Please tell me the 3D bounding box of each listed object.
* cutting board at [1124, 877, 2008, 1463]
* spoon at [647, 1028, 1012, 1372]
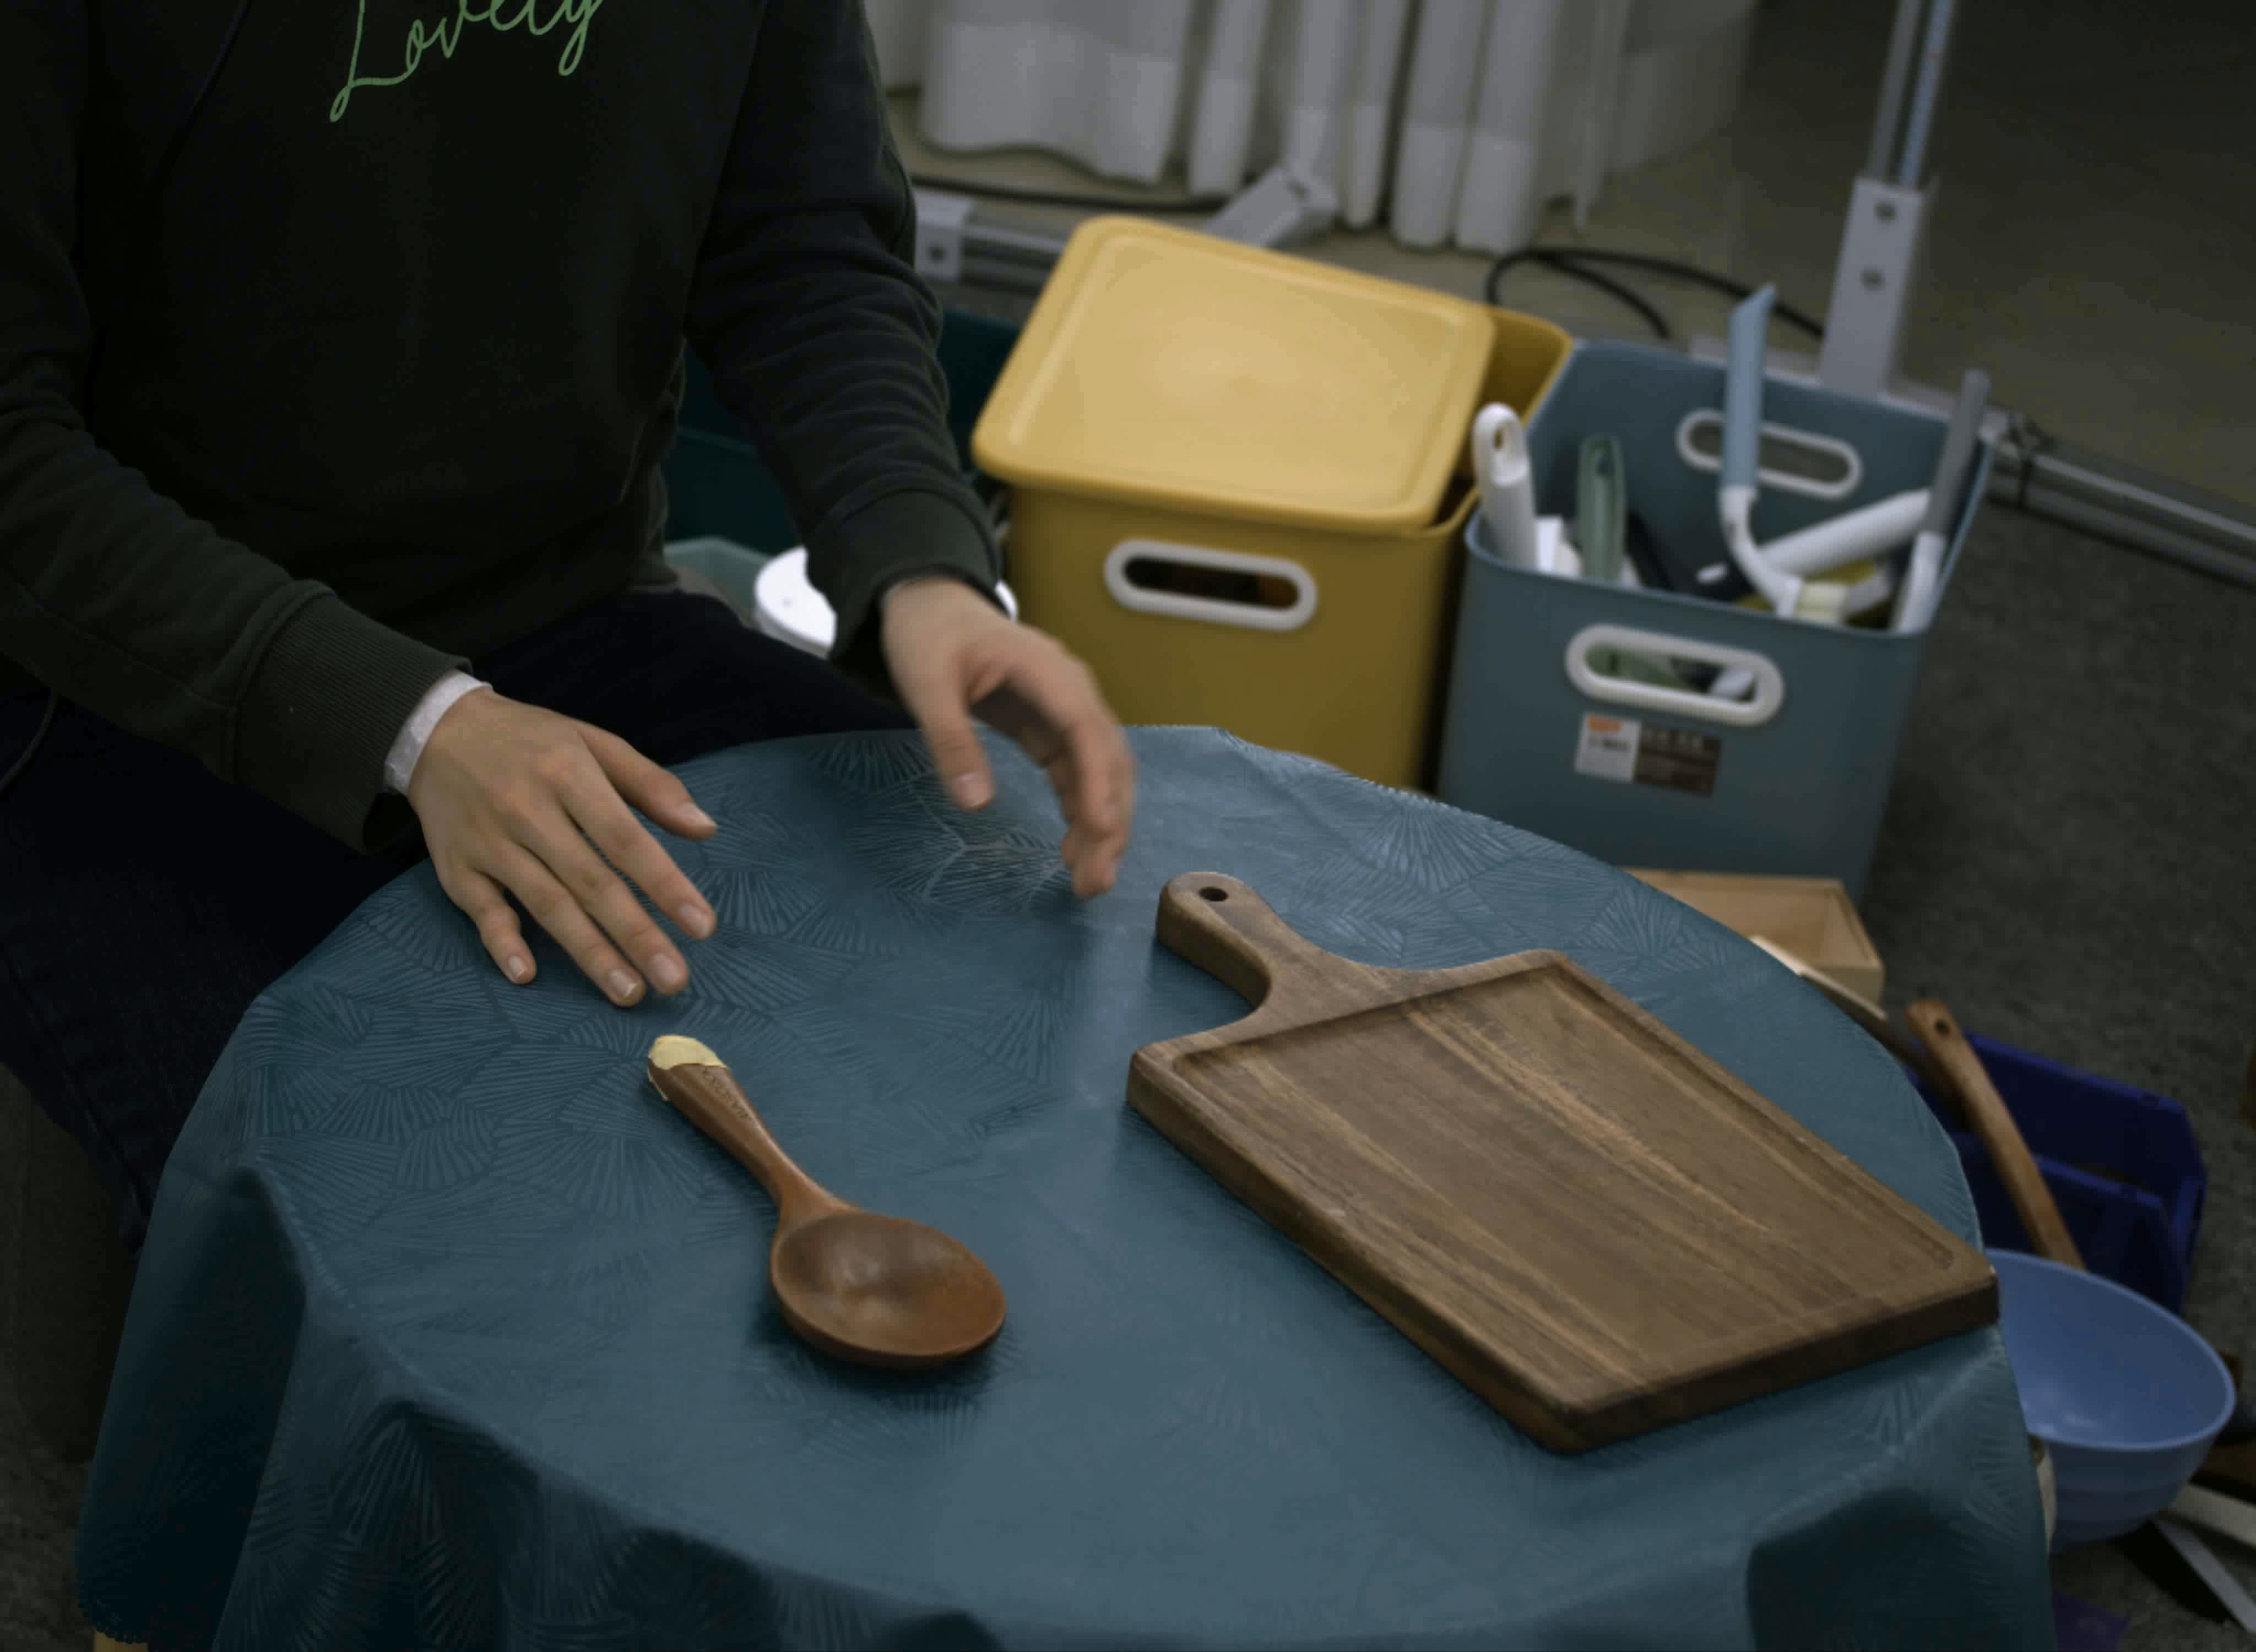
[{"bbox_3d":[0.119,0.102,1.850,0.200,0.023,0.355,-13,33,-32],"label":"cutting board"},{"bbox_3d":[-0.107,0.124,1.756,0.075,0.017,0.218,-10,32,-27],"label":"spoon"}]
